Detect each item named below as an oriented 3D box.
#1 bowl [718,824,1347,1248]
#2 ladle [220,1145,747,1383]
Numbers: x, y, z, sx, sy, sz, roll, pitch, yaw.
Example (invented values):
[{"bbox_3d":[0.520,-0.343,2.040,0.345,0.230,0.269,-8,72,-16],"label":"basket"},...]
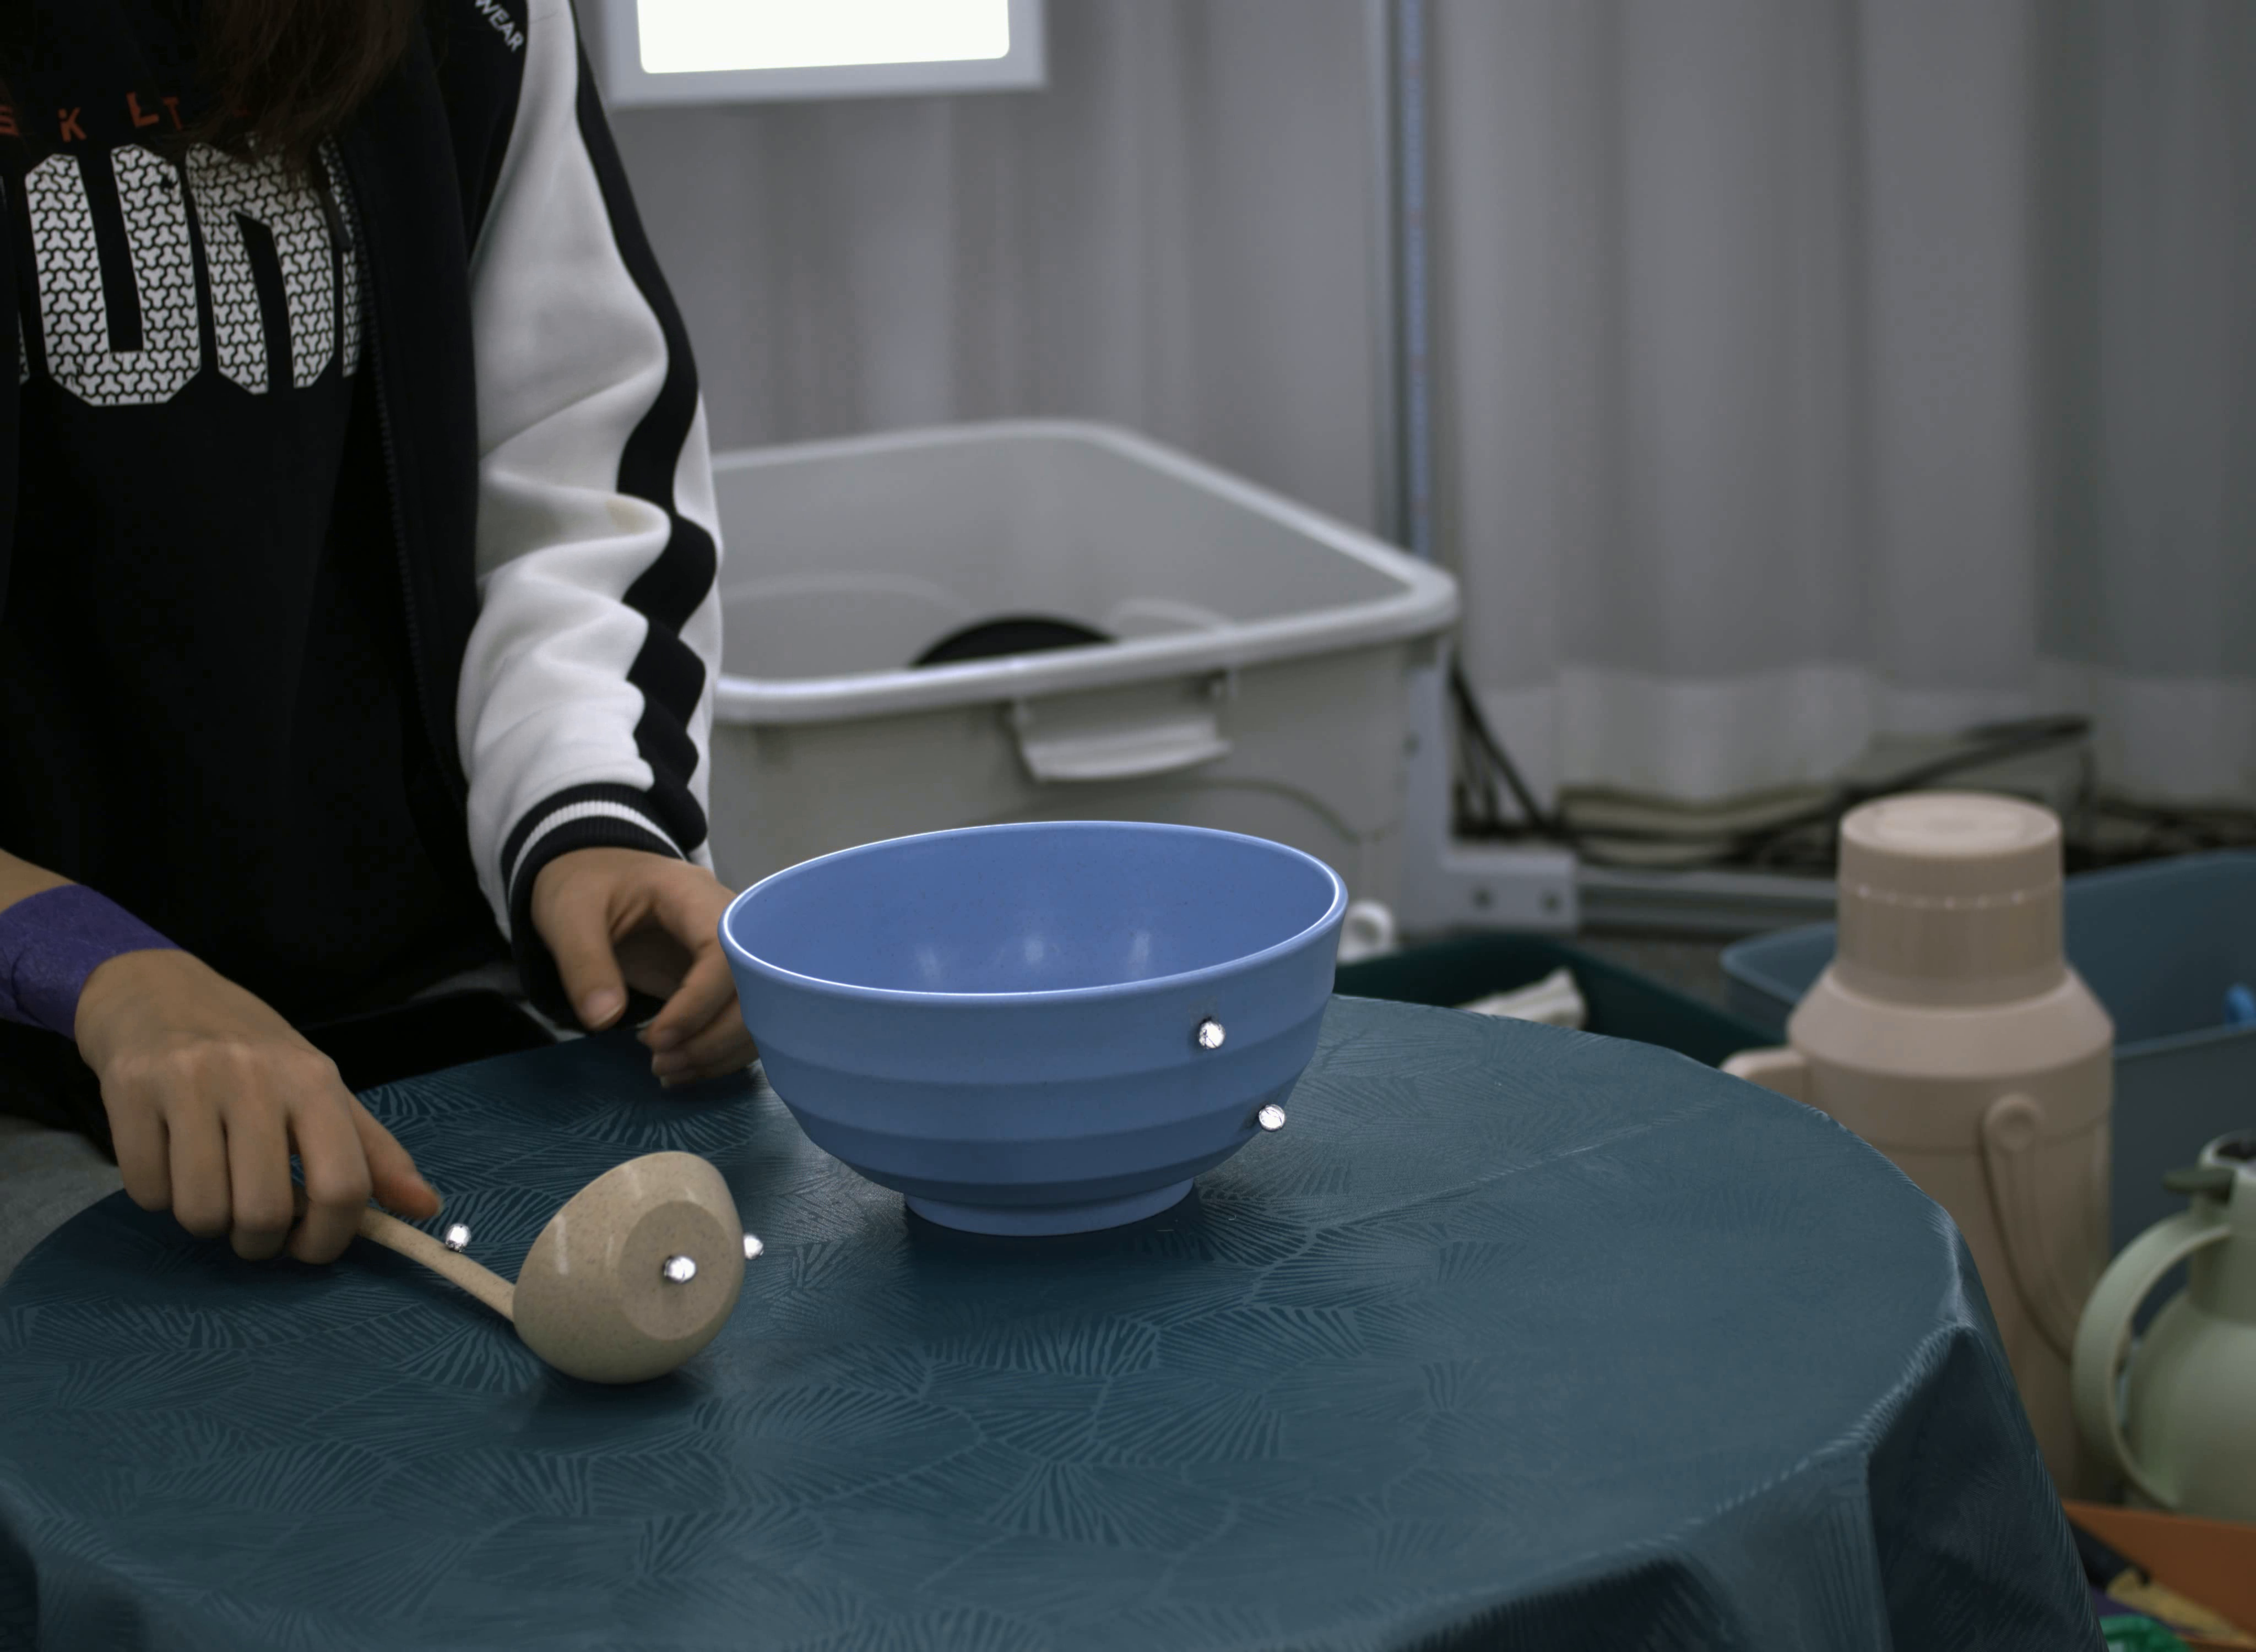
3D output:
[{"bbox_3d":[-0.027,0.072,1.709,0.196,0.095,0.198,-4,15,1],"label":"bowl"},{"bbox_3d":[-0.205,0.108,1.640,0.072,0.072,0.256,-12,17,-37],"label":"ladle"}]
